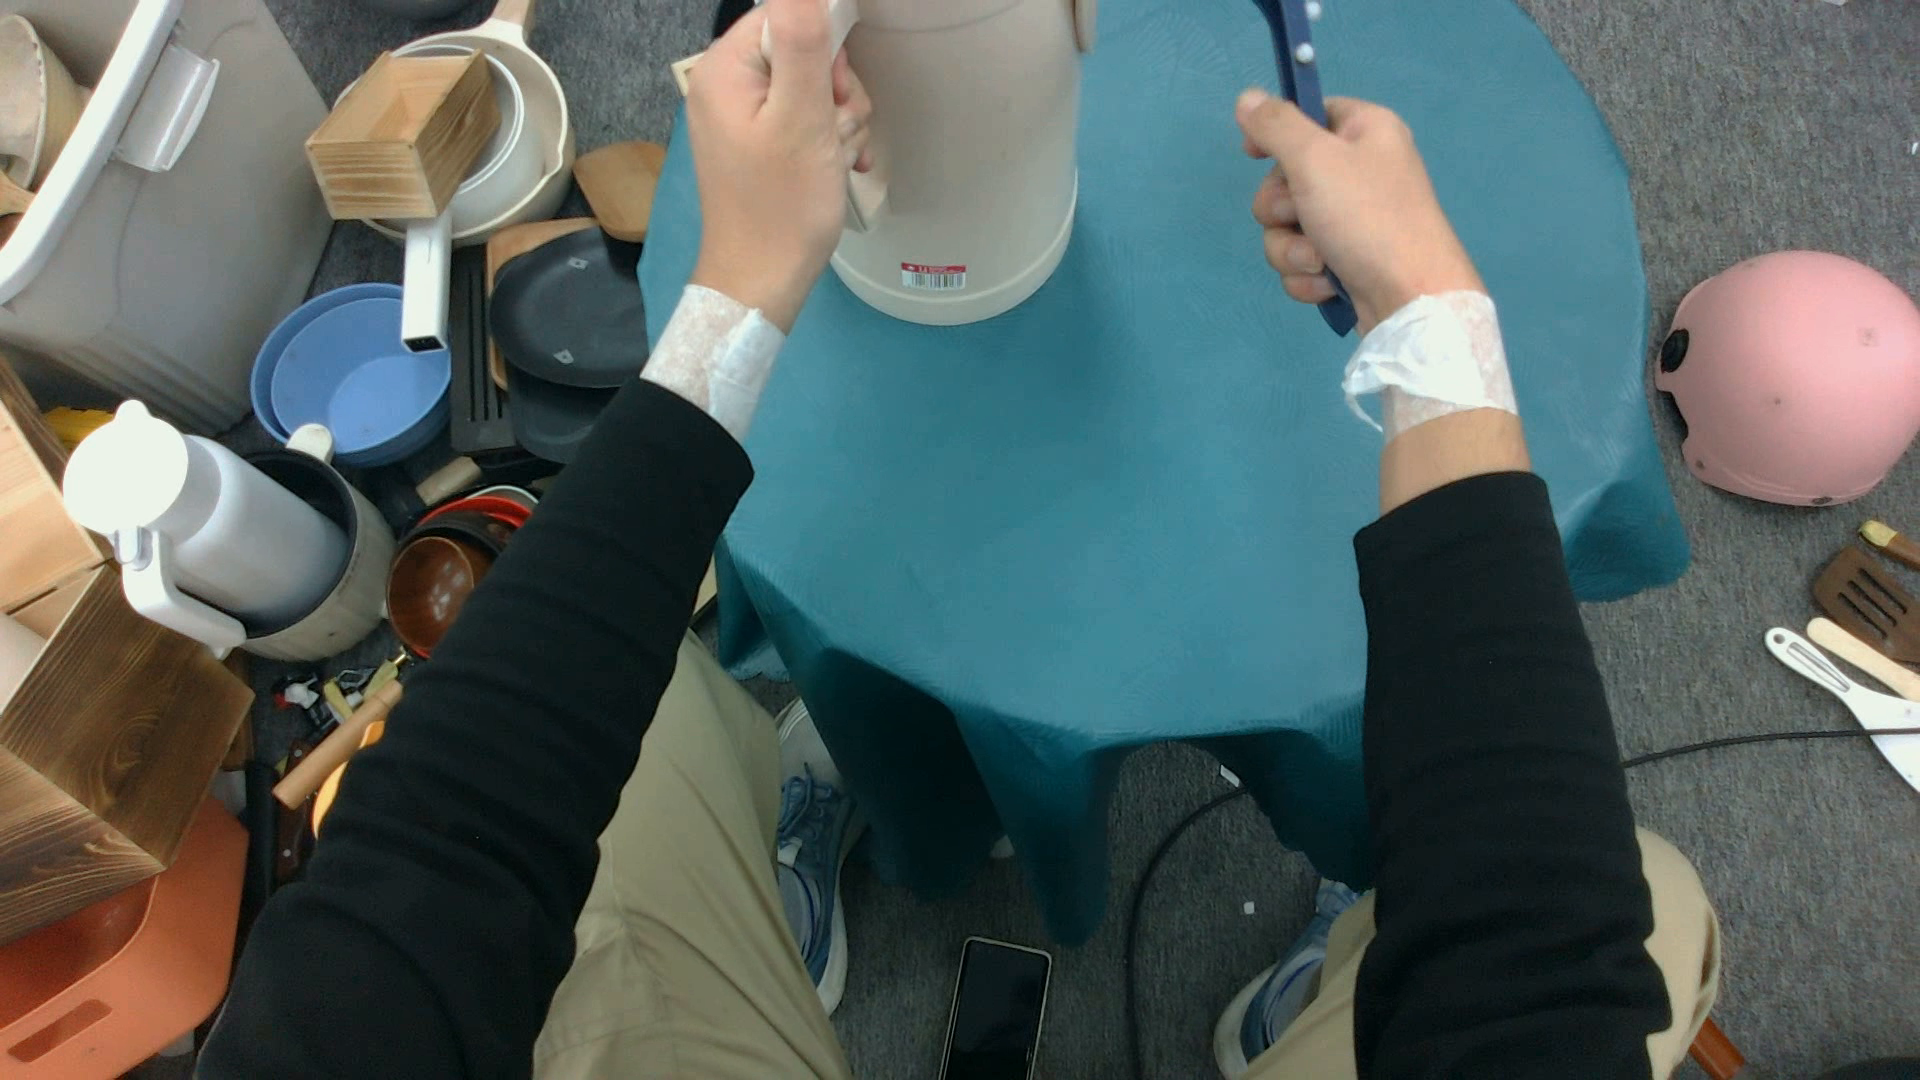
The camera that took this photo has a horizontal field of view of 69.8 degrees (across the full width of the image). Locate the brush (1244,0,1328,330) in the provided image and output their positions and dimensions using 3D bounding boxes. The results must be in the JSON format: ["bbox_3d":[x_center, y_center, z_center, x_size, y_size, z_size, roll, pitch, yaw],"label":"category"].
[{"bbox_3d":[0.158,-0.232,0.646,0.096,0.033,0.273,-11,75,-5],"label":"brush"}]

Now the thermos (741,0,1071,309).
[{"bbox_3d":[-0.035,-0.260,0.653,0.175,0.405,0.207,23,74,7],"label":"thermos"}]
